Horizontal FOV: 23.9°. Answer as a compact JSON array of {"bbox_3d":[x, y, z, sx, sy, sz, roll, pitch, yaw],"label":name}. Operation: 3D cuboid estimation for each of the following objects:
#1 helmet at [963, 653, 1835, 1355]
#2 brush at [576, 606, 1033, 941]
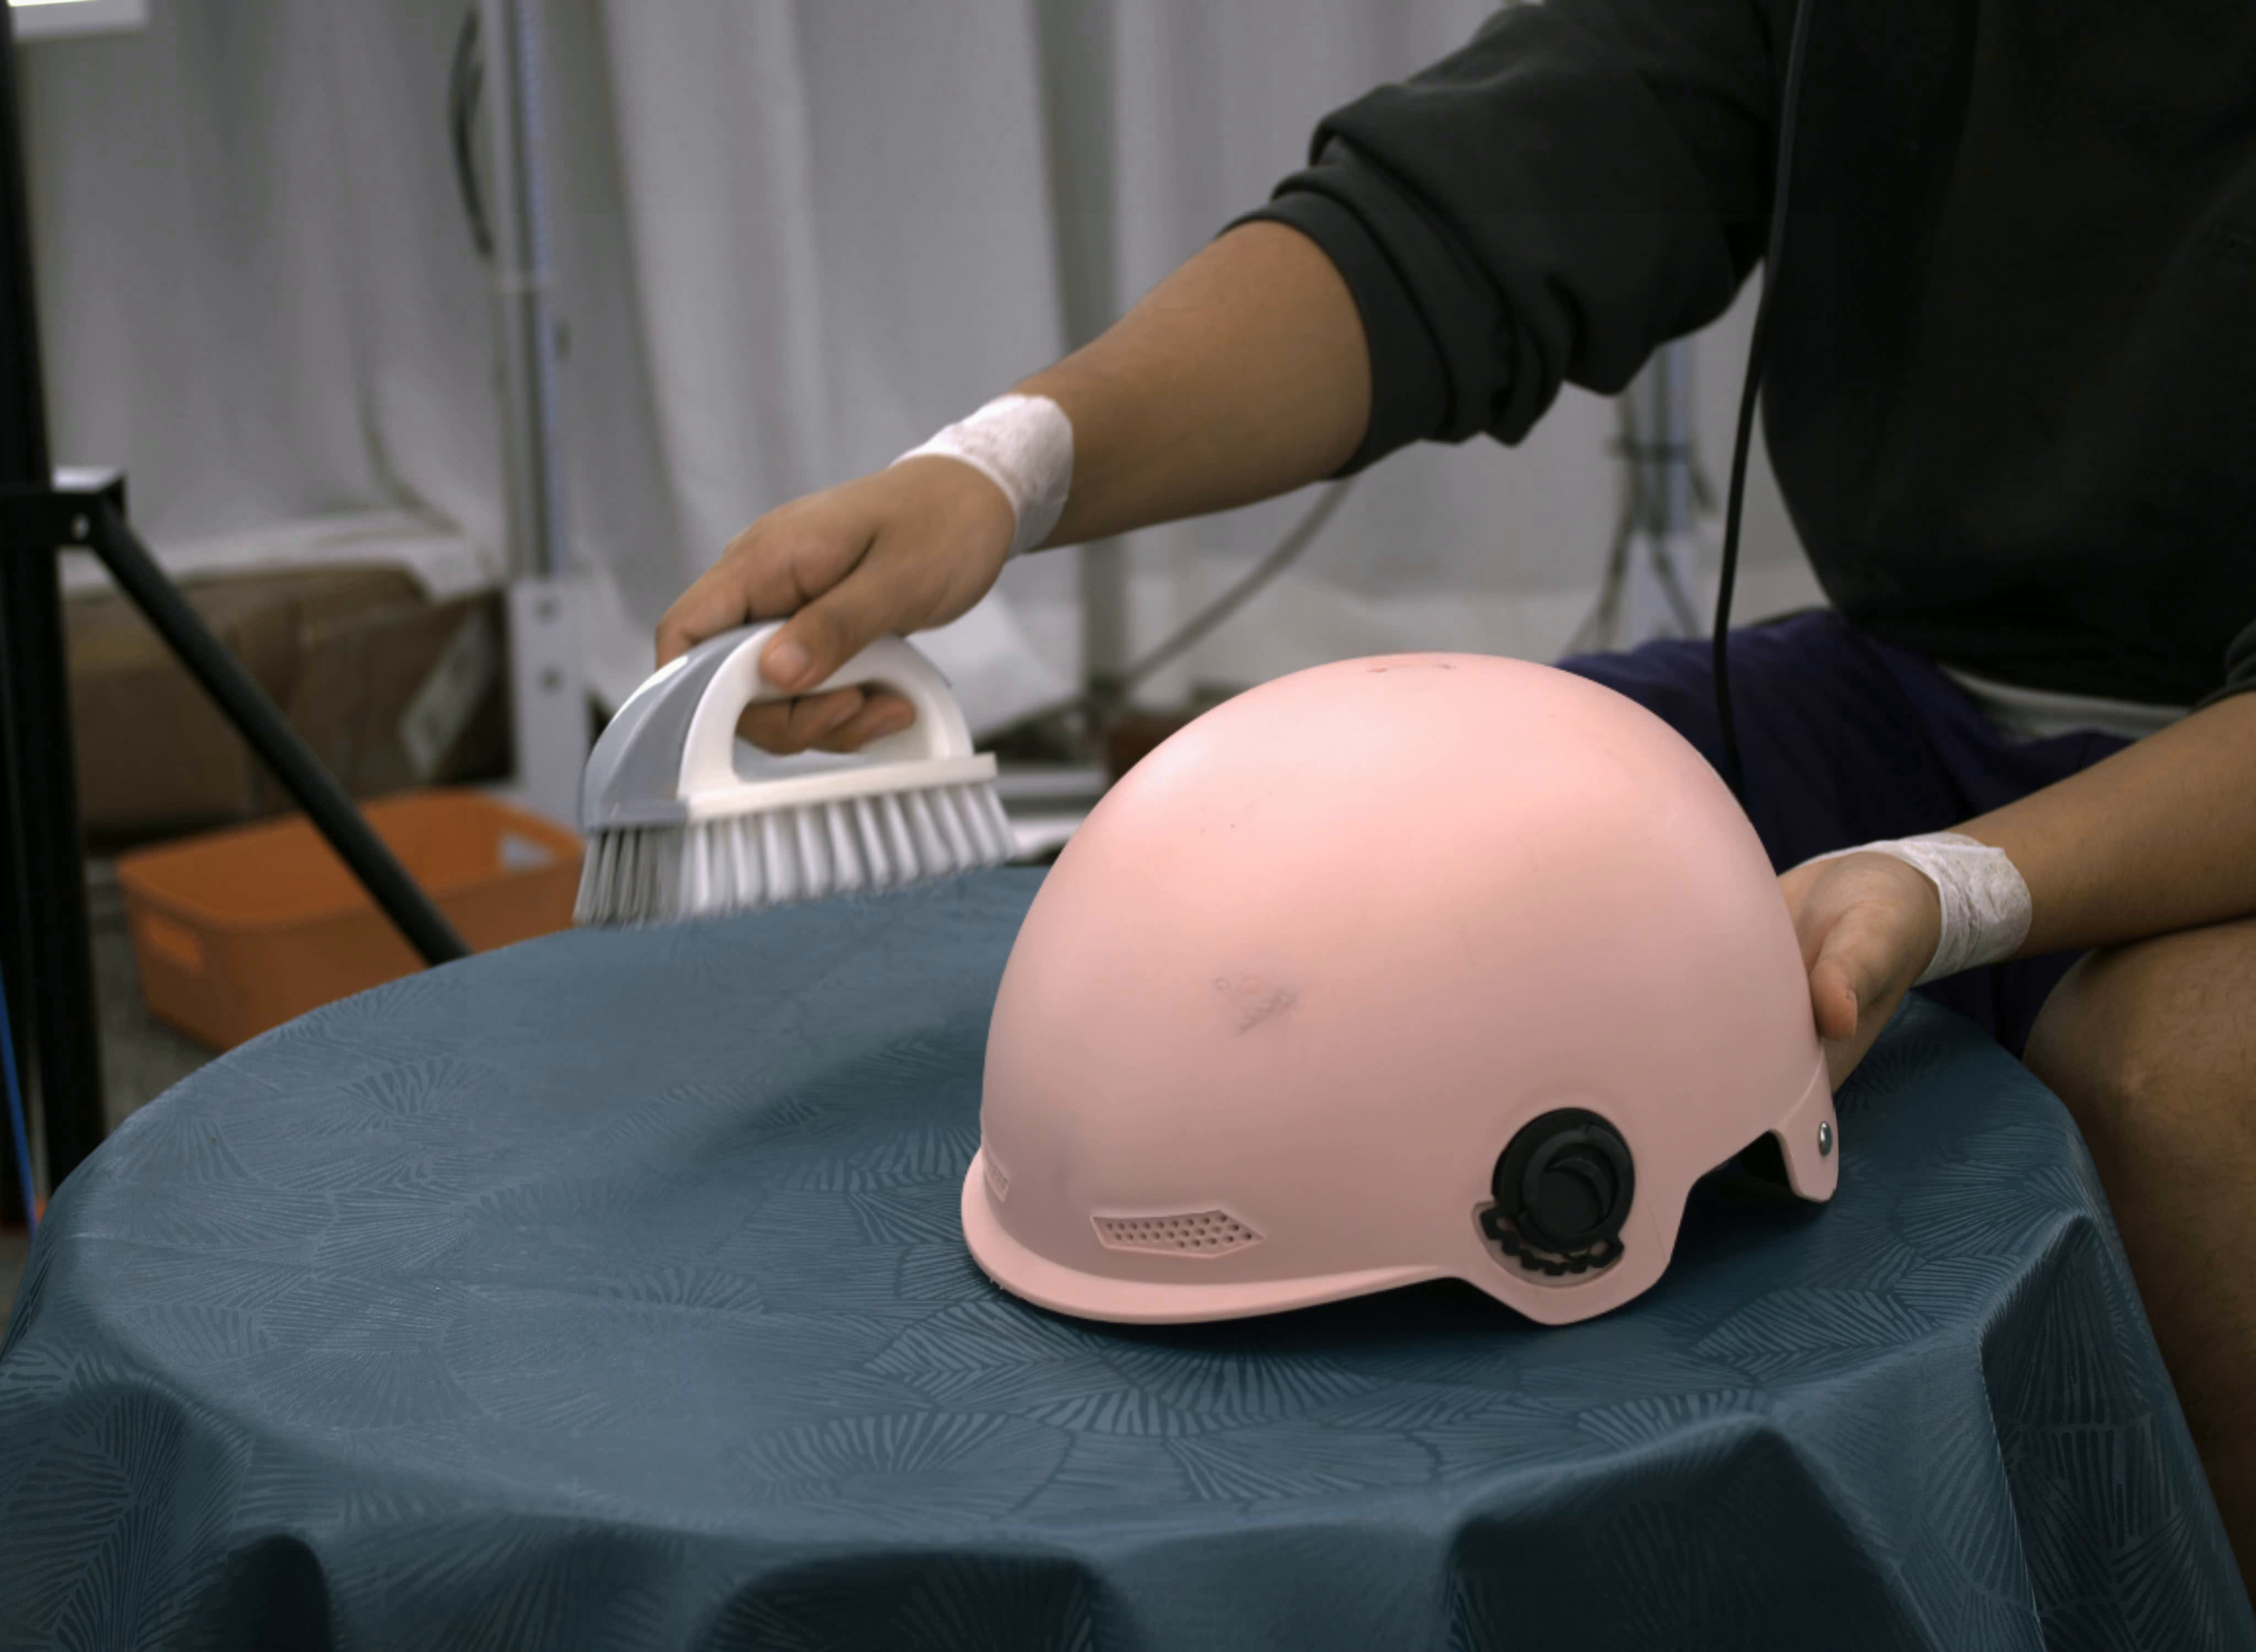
[{"bbox_3d":[0.071,0.039,1.516,0.260,0.158,0.239,-19,23,-32],"label":"helmet"},{"bbox_3d":[-0.111,-0.018,1.662,0.062,0.094,0.171,-13,0,44],"label":"brush"}]
